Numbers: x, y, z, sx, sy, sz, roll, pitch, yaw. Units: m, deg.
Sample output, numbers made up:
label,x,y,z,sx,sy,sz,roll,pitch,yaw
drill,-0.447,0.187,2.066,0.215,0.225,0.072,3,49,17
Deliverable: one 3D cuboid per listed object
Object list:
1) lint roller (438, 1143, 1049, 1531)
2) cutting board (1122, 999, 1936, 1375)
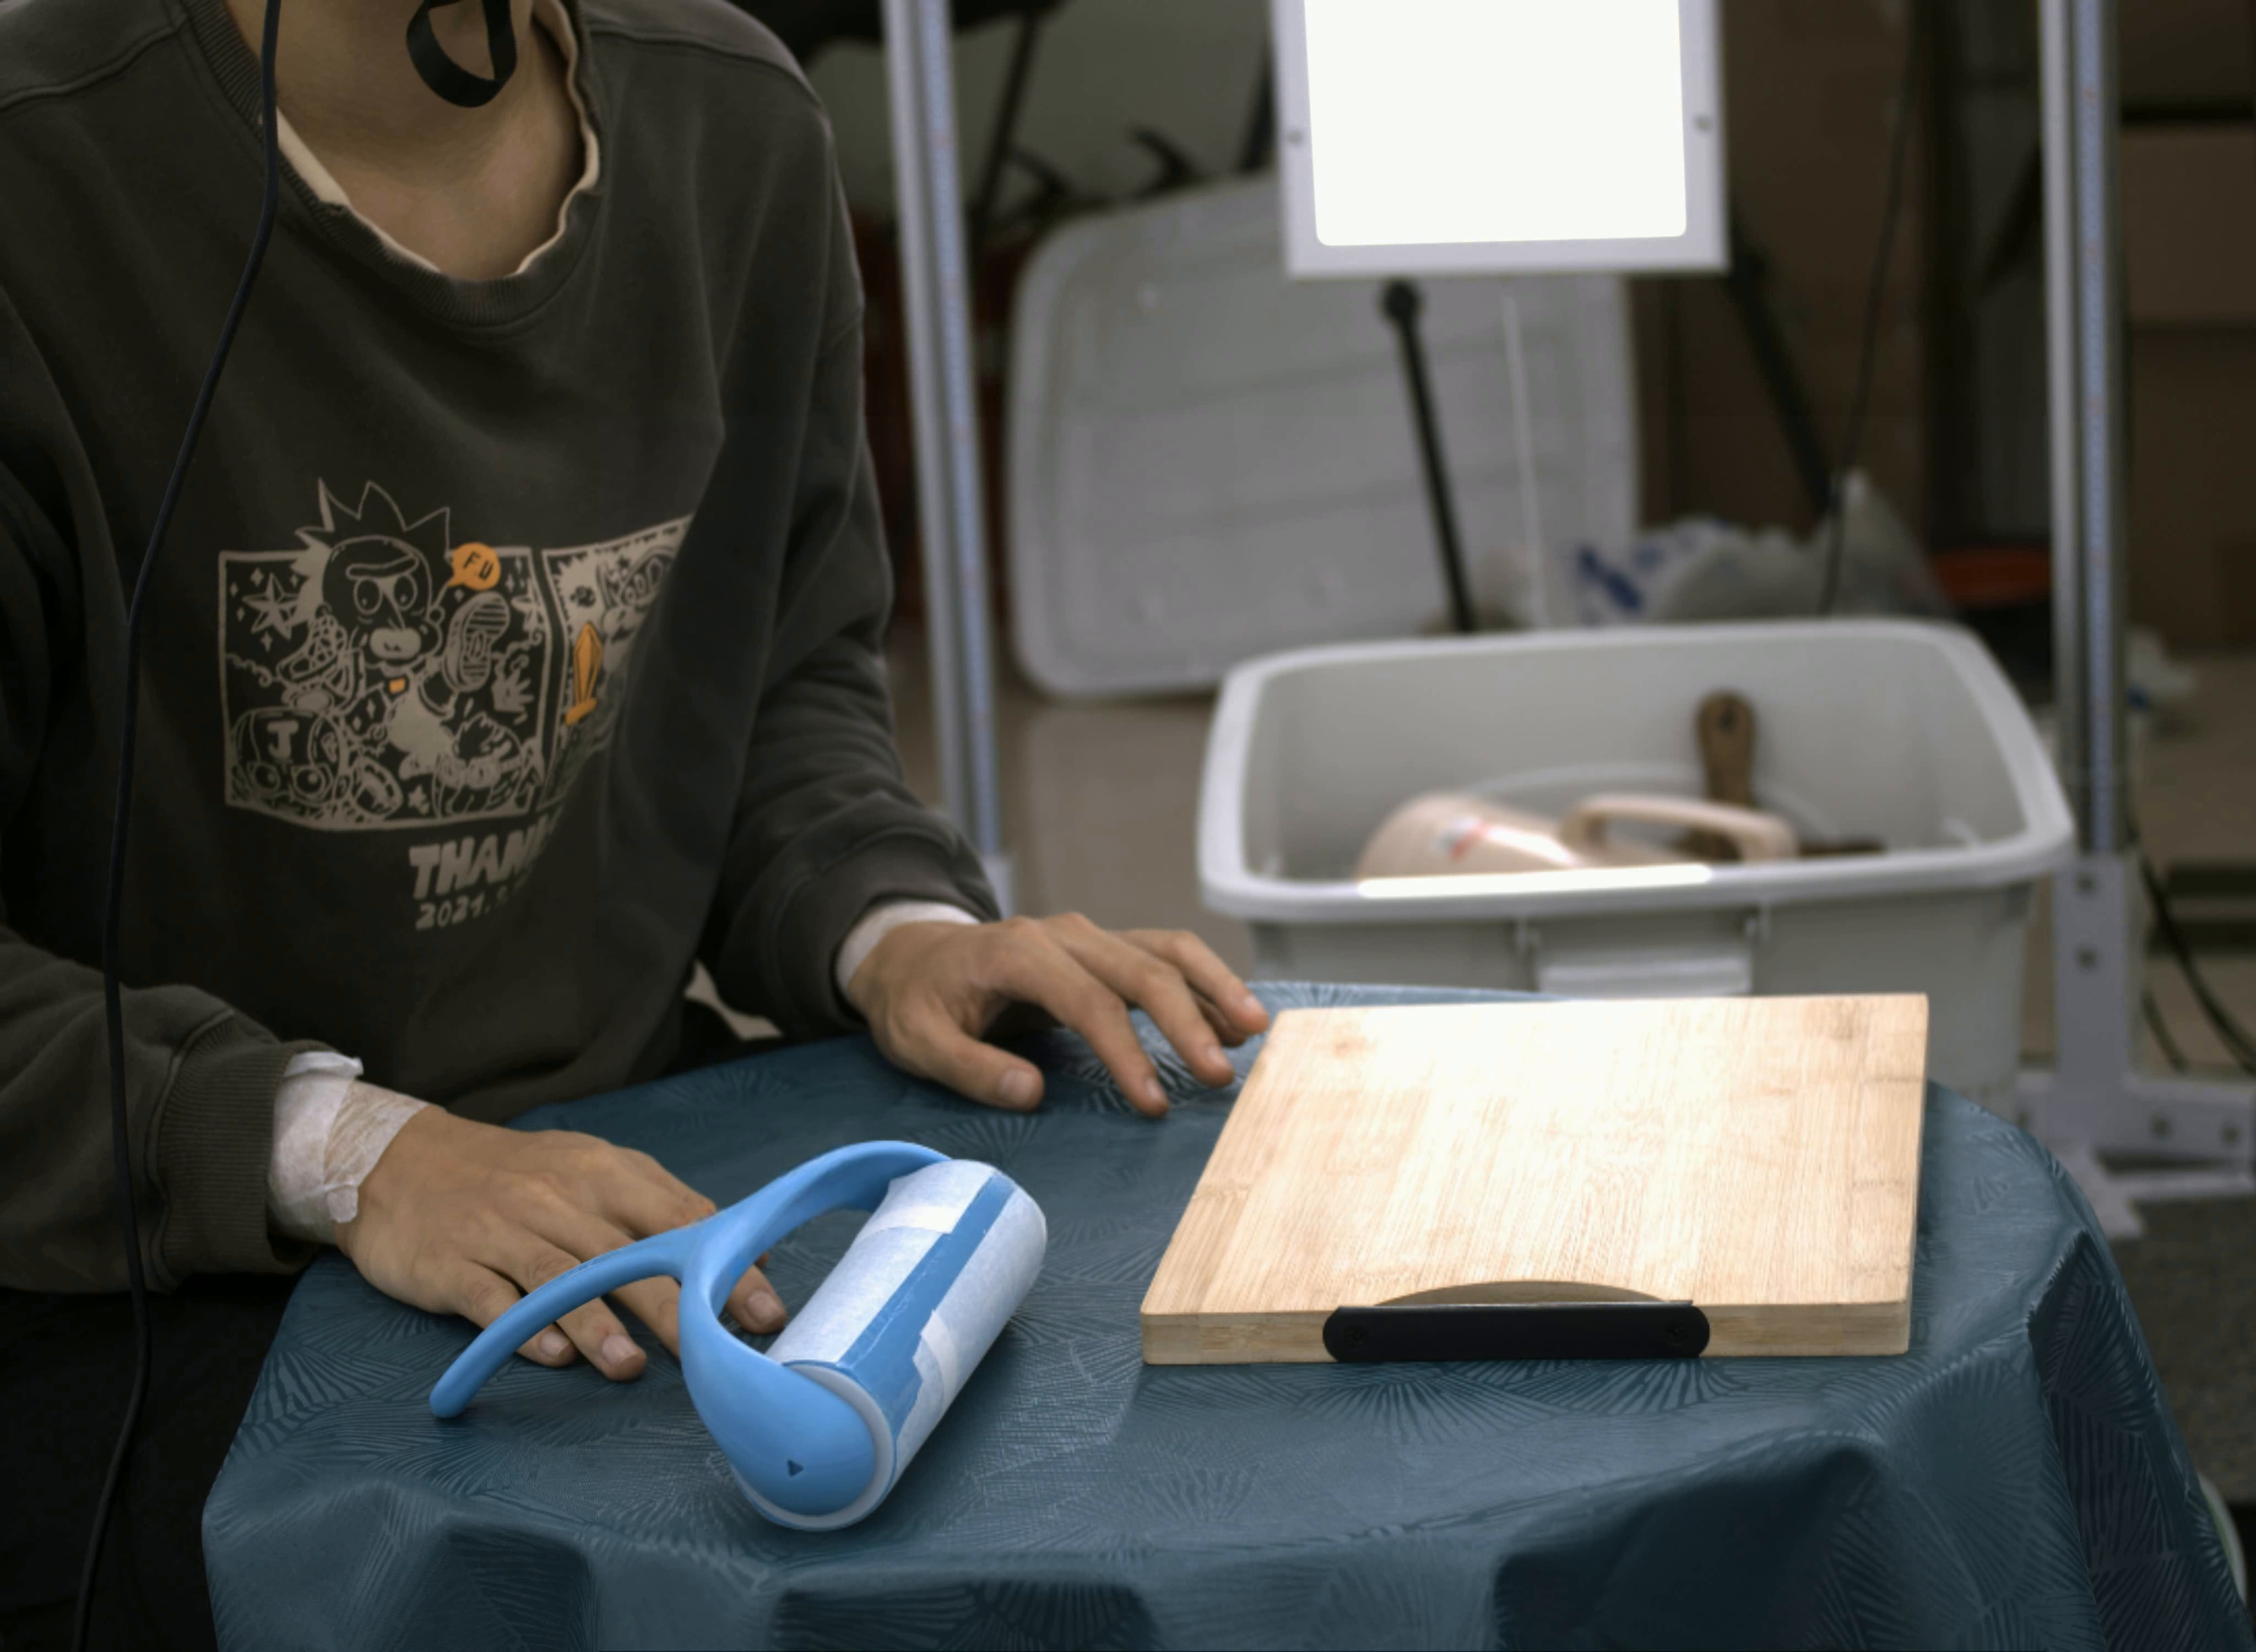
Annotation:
label,x,y,z,sx,sy,sz,roll,pitch,yaw
lint roller,-0.130,0.156,1.705,0.181,0.068,0.226,-1,16,12
cutting board,0.146,0.117,1.849,0.252,0.023,0.345,-3,14,10
